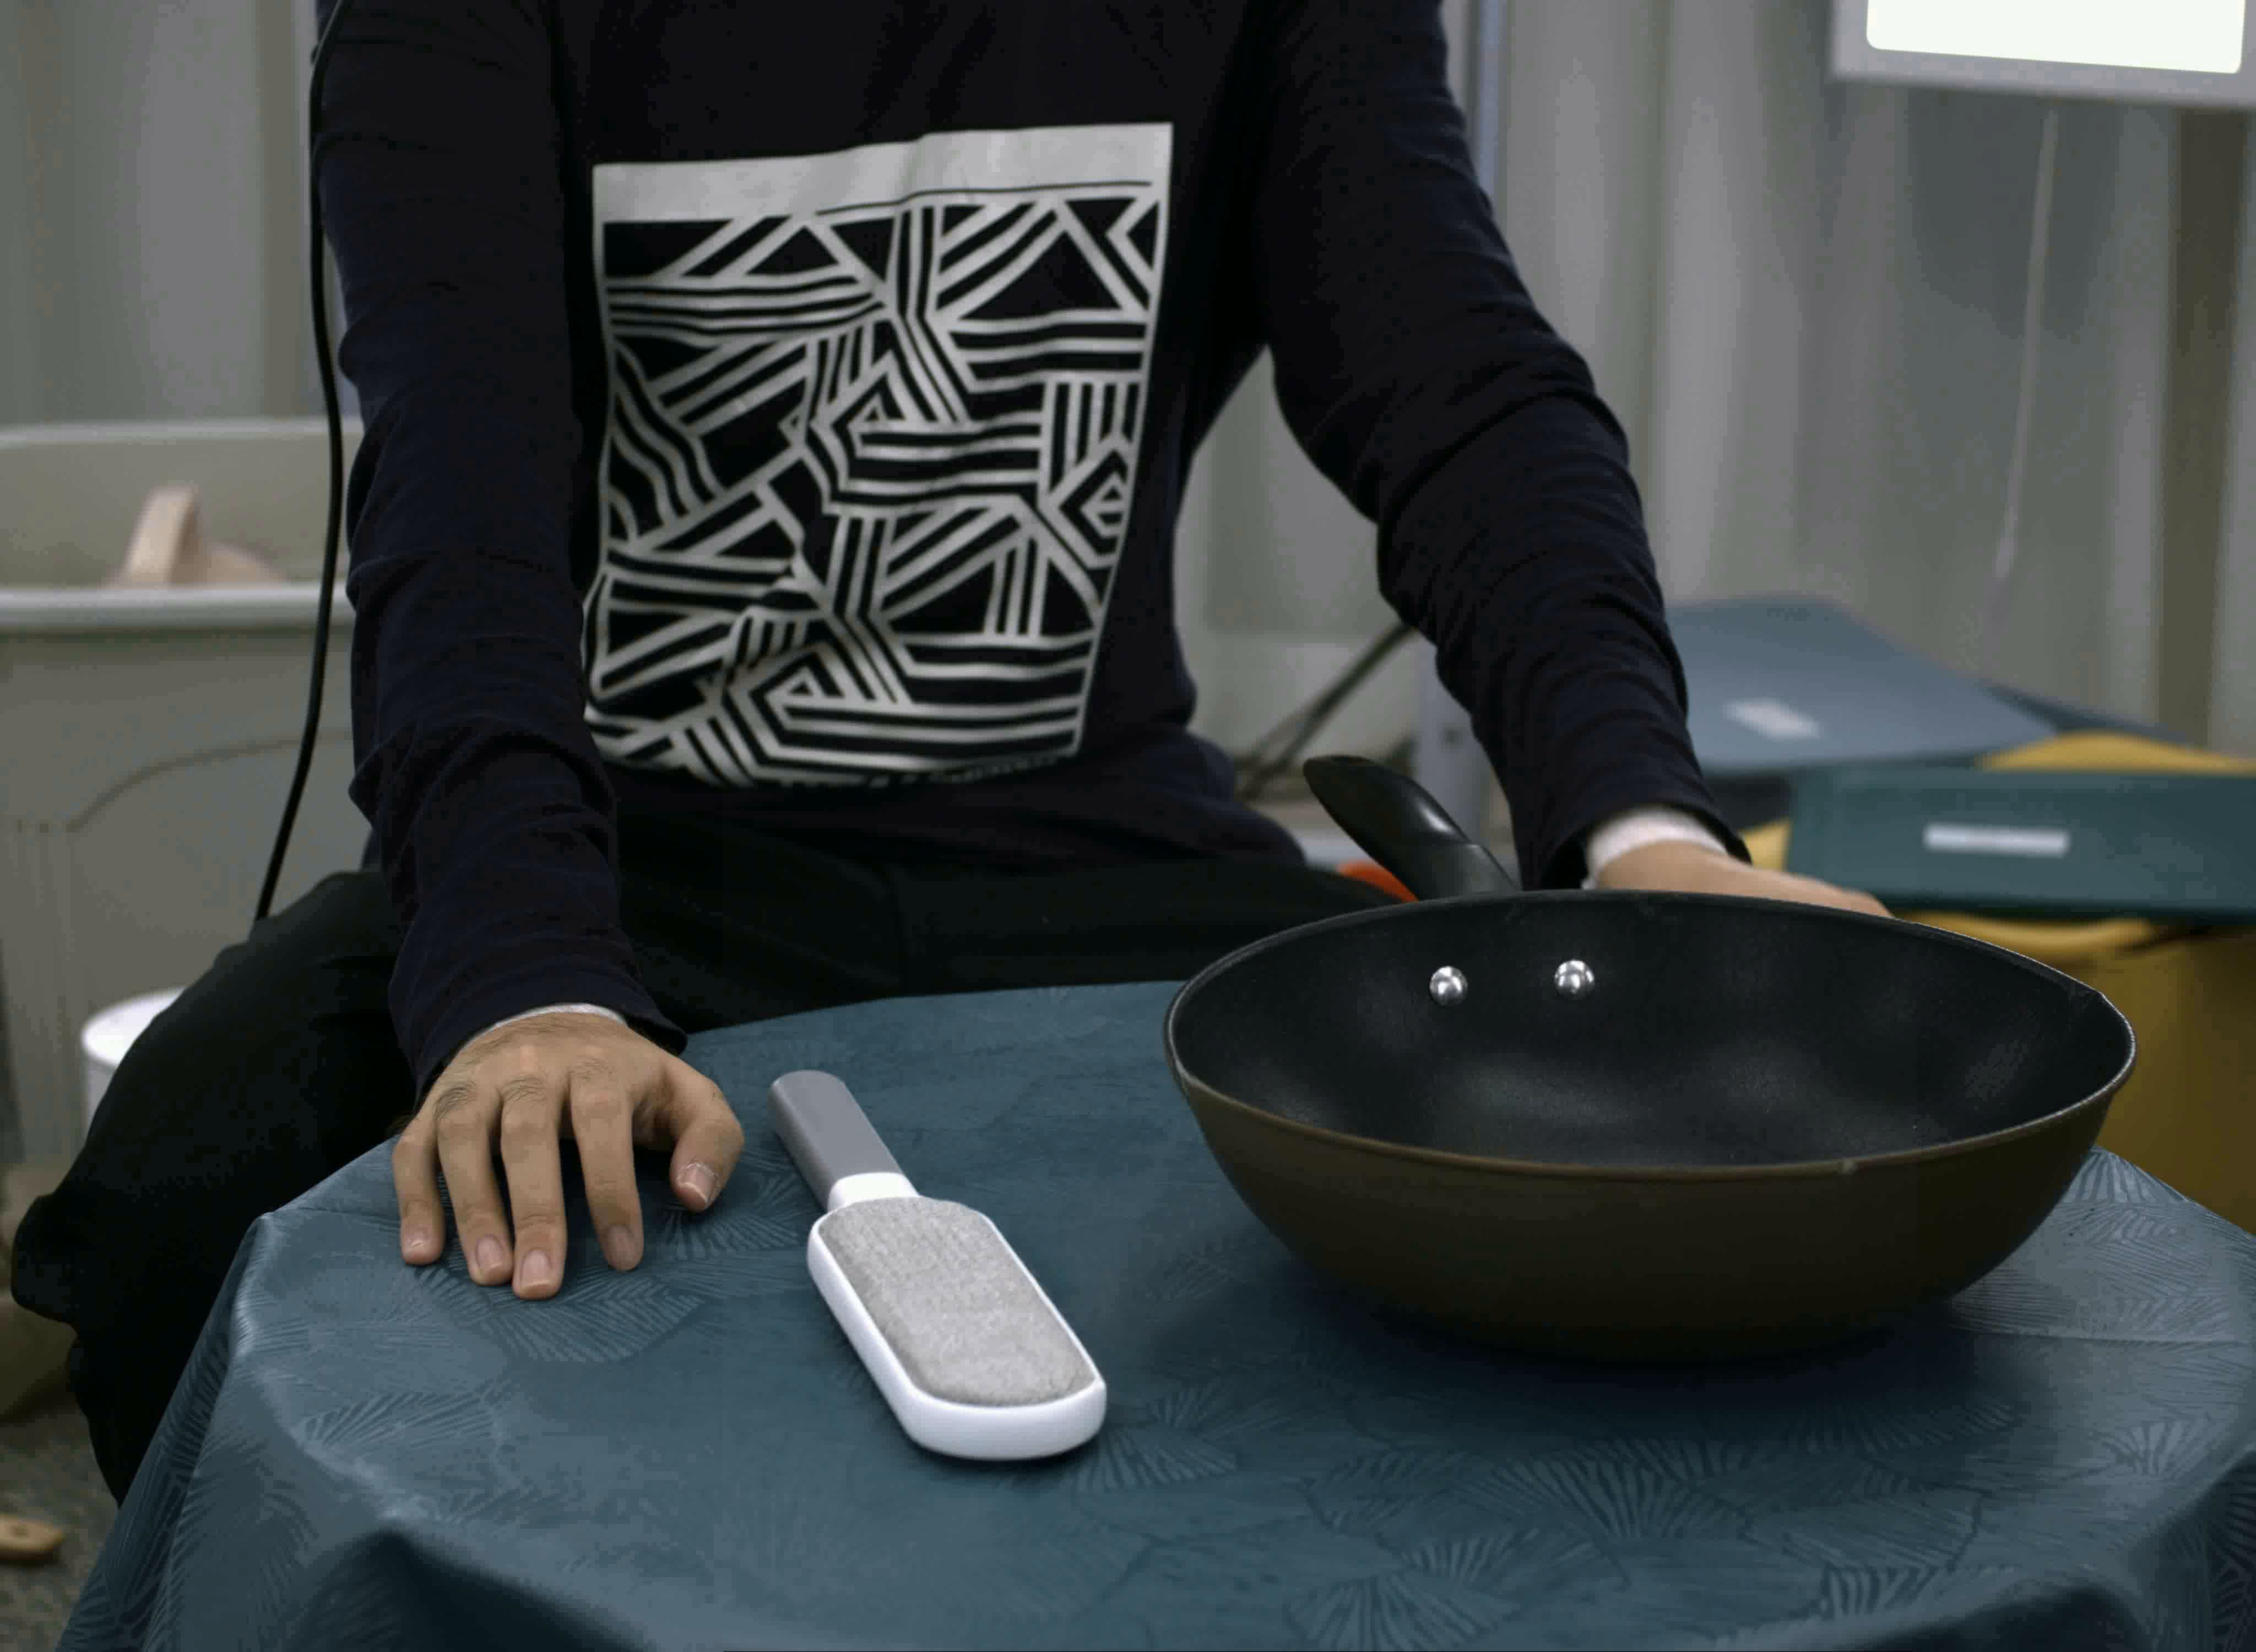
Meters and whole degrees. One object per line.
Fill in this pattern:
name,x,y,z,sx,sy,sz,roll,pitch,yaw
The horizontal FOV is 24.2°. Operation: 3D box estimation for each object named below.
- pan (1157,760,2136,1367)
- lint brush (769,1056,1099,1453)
pan,0.128,0.071,1.625,0.288,0.087,0.459,-3,15,-14
lint brush,-0.065,0.120,1.540,0.060,0.021,0.306,-9,17,-12
